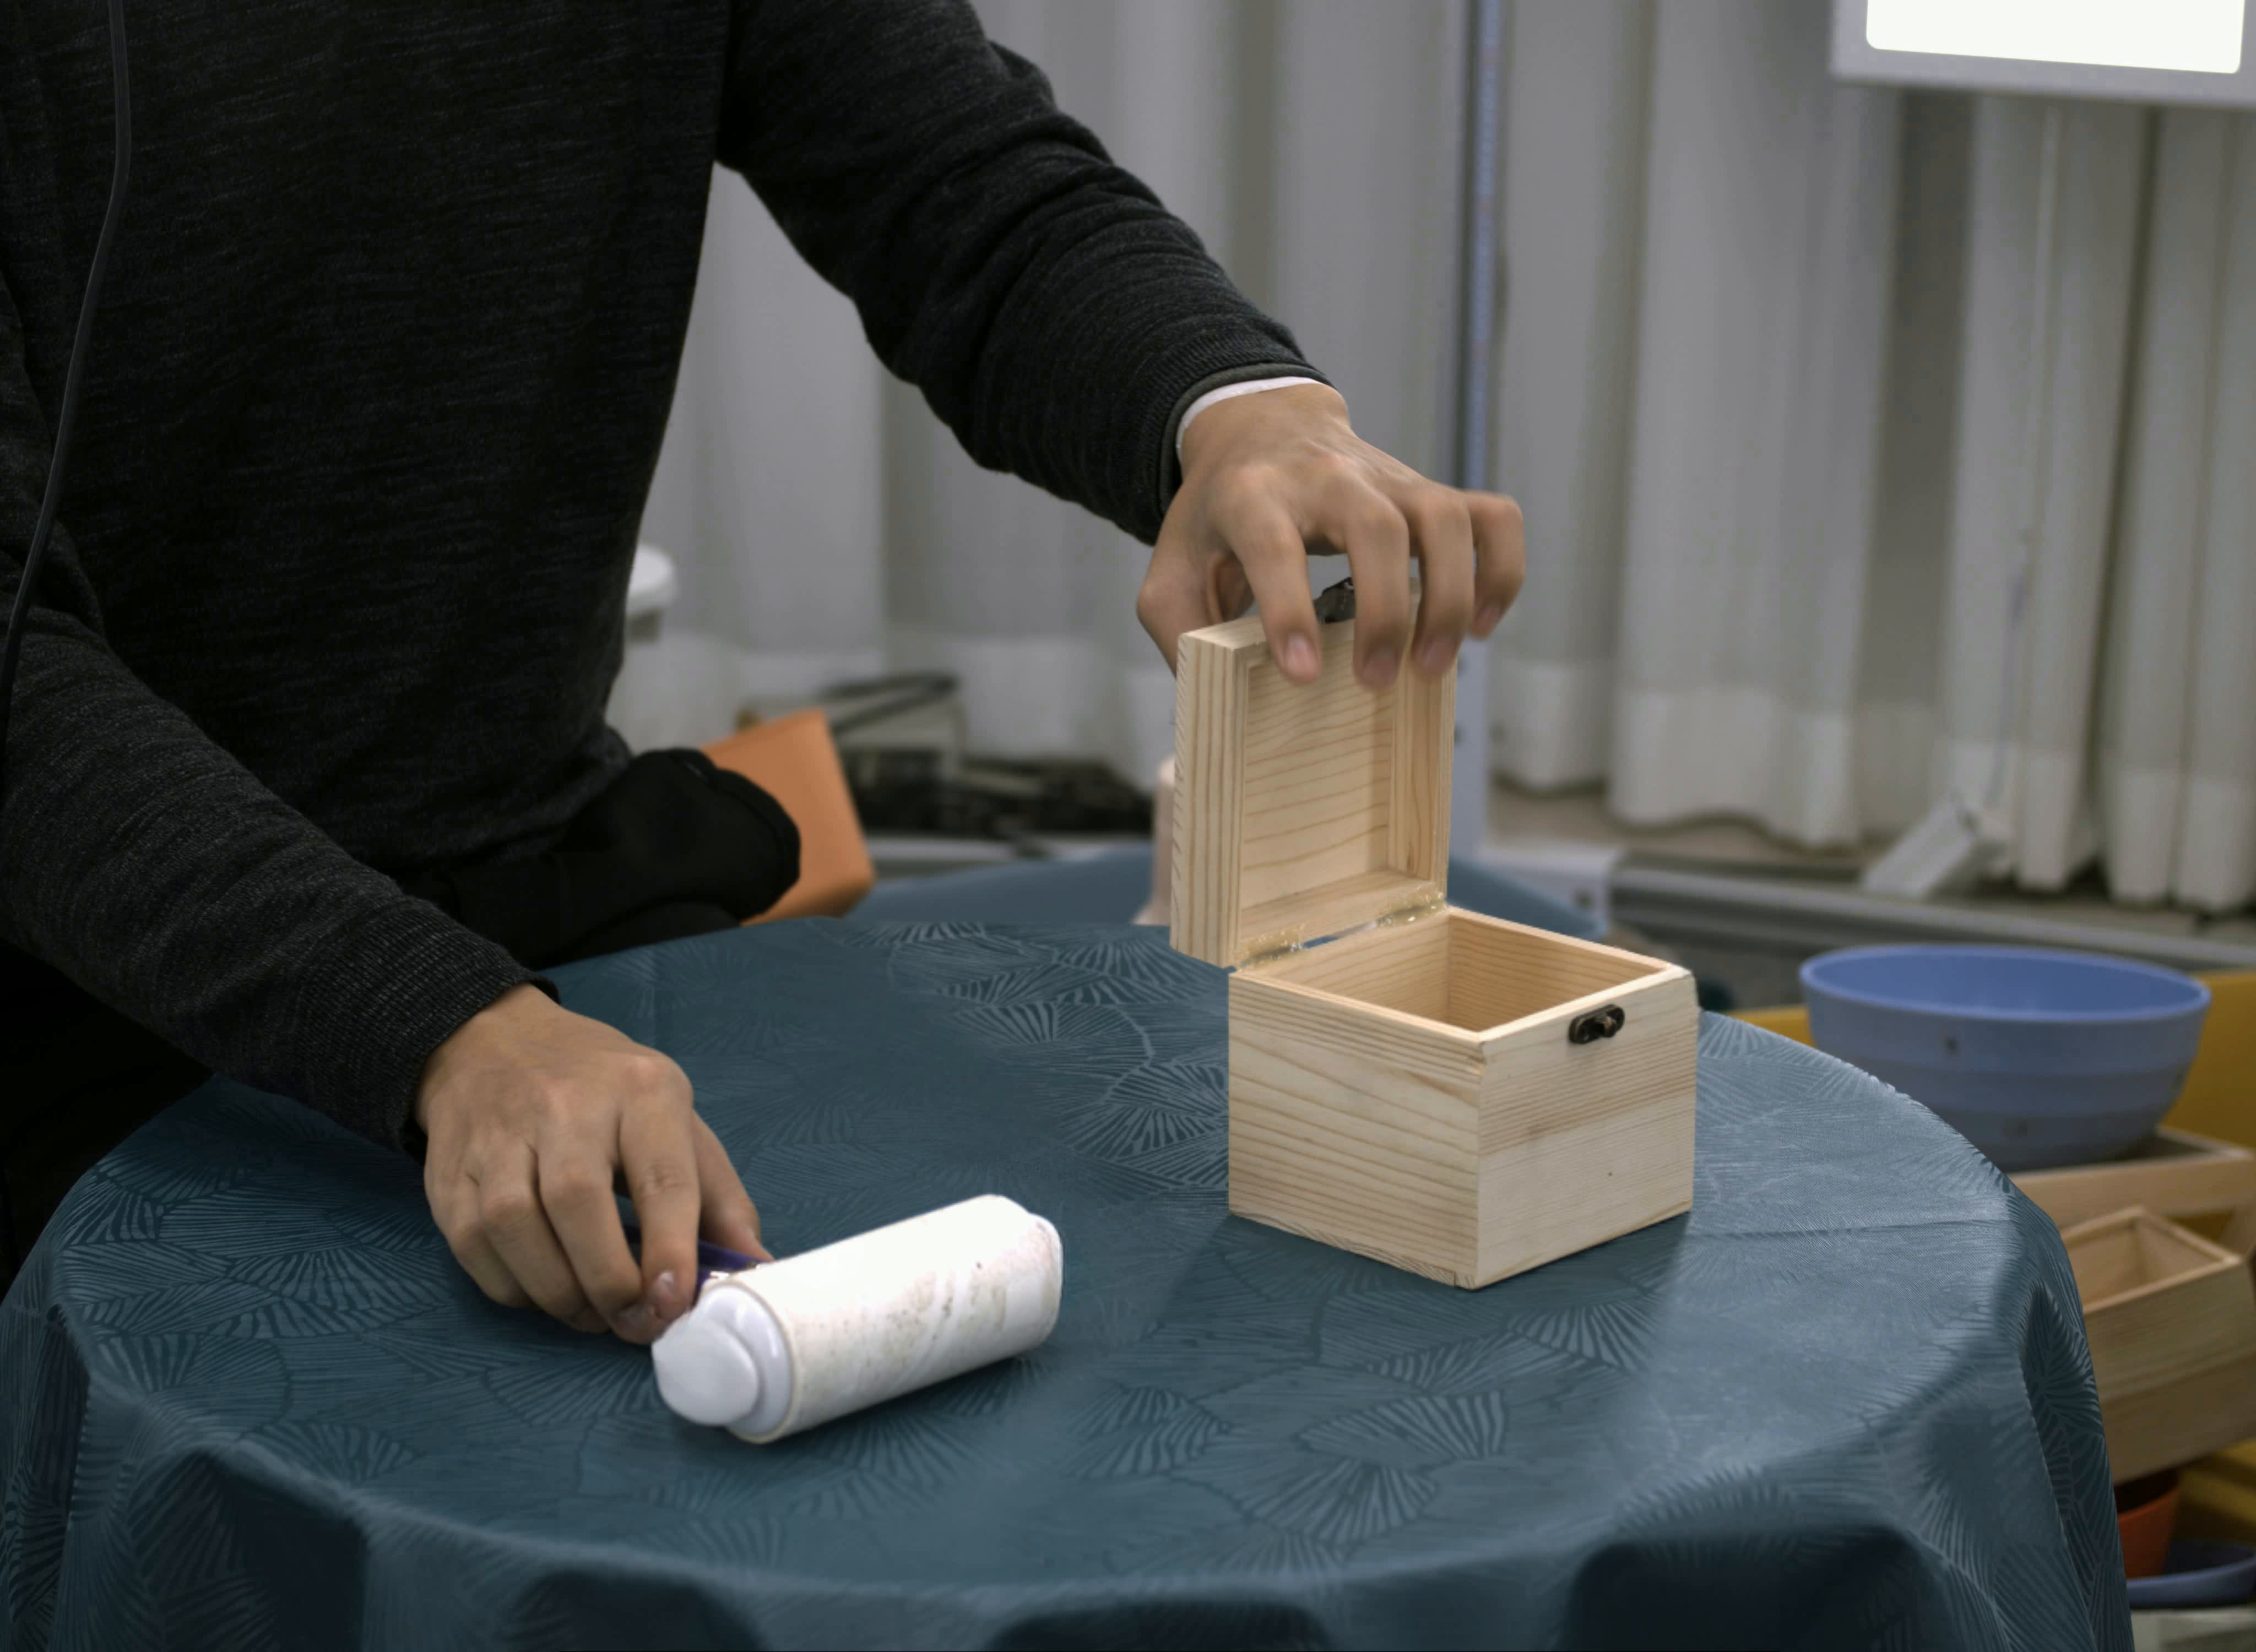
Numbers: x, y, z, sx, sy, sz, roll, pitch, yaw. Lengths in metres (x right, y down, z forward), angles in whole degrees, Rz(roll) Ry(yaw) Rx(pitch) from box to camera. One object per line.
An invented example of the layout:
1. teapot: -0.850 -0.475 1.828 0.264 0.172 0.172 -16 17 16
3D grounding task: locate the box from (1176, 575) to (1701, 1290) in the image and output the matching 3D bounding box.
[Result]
1. box: 0.095 0.028 1.584 0.132 0.186 0.103 14 21 42

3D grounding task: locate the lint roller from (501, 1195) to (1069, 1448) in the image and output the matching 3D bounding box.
1. lint roller: -0.115 0.122 1.494 0.133 0.050 0.178 -15 24 -42
